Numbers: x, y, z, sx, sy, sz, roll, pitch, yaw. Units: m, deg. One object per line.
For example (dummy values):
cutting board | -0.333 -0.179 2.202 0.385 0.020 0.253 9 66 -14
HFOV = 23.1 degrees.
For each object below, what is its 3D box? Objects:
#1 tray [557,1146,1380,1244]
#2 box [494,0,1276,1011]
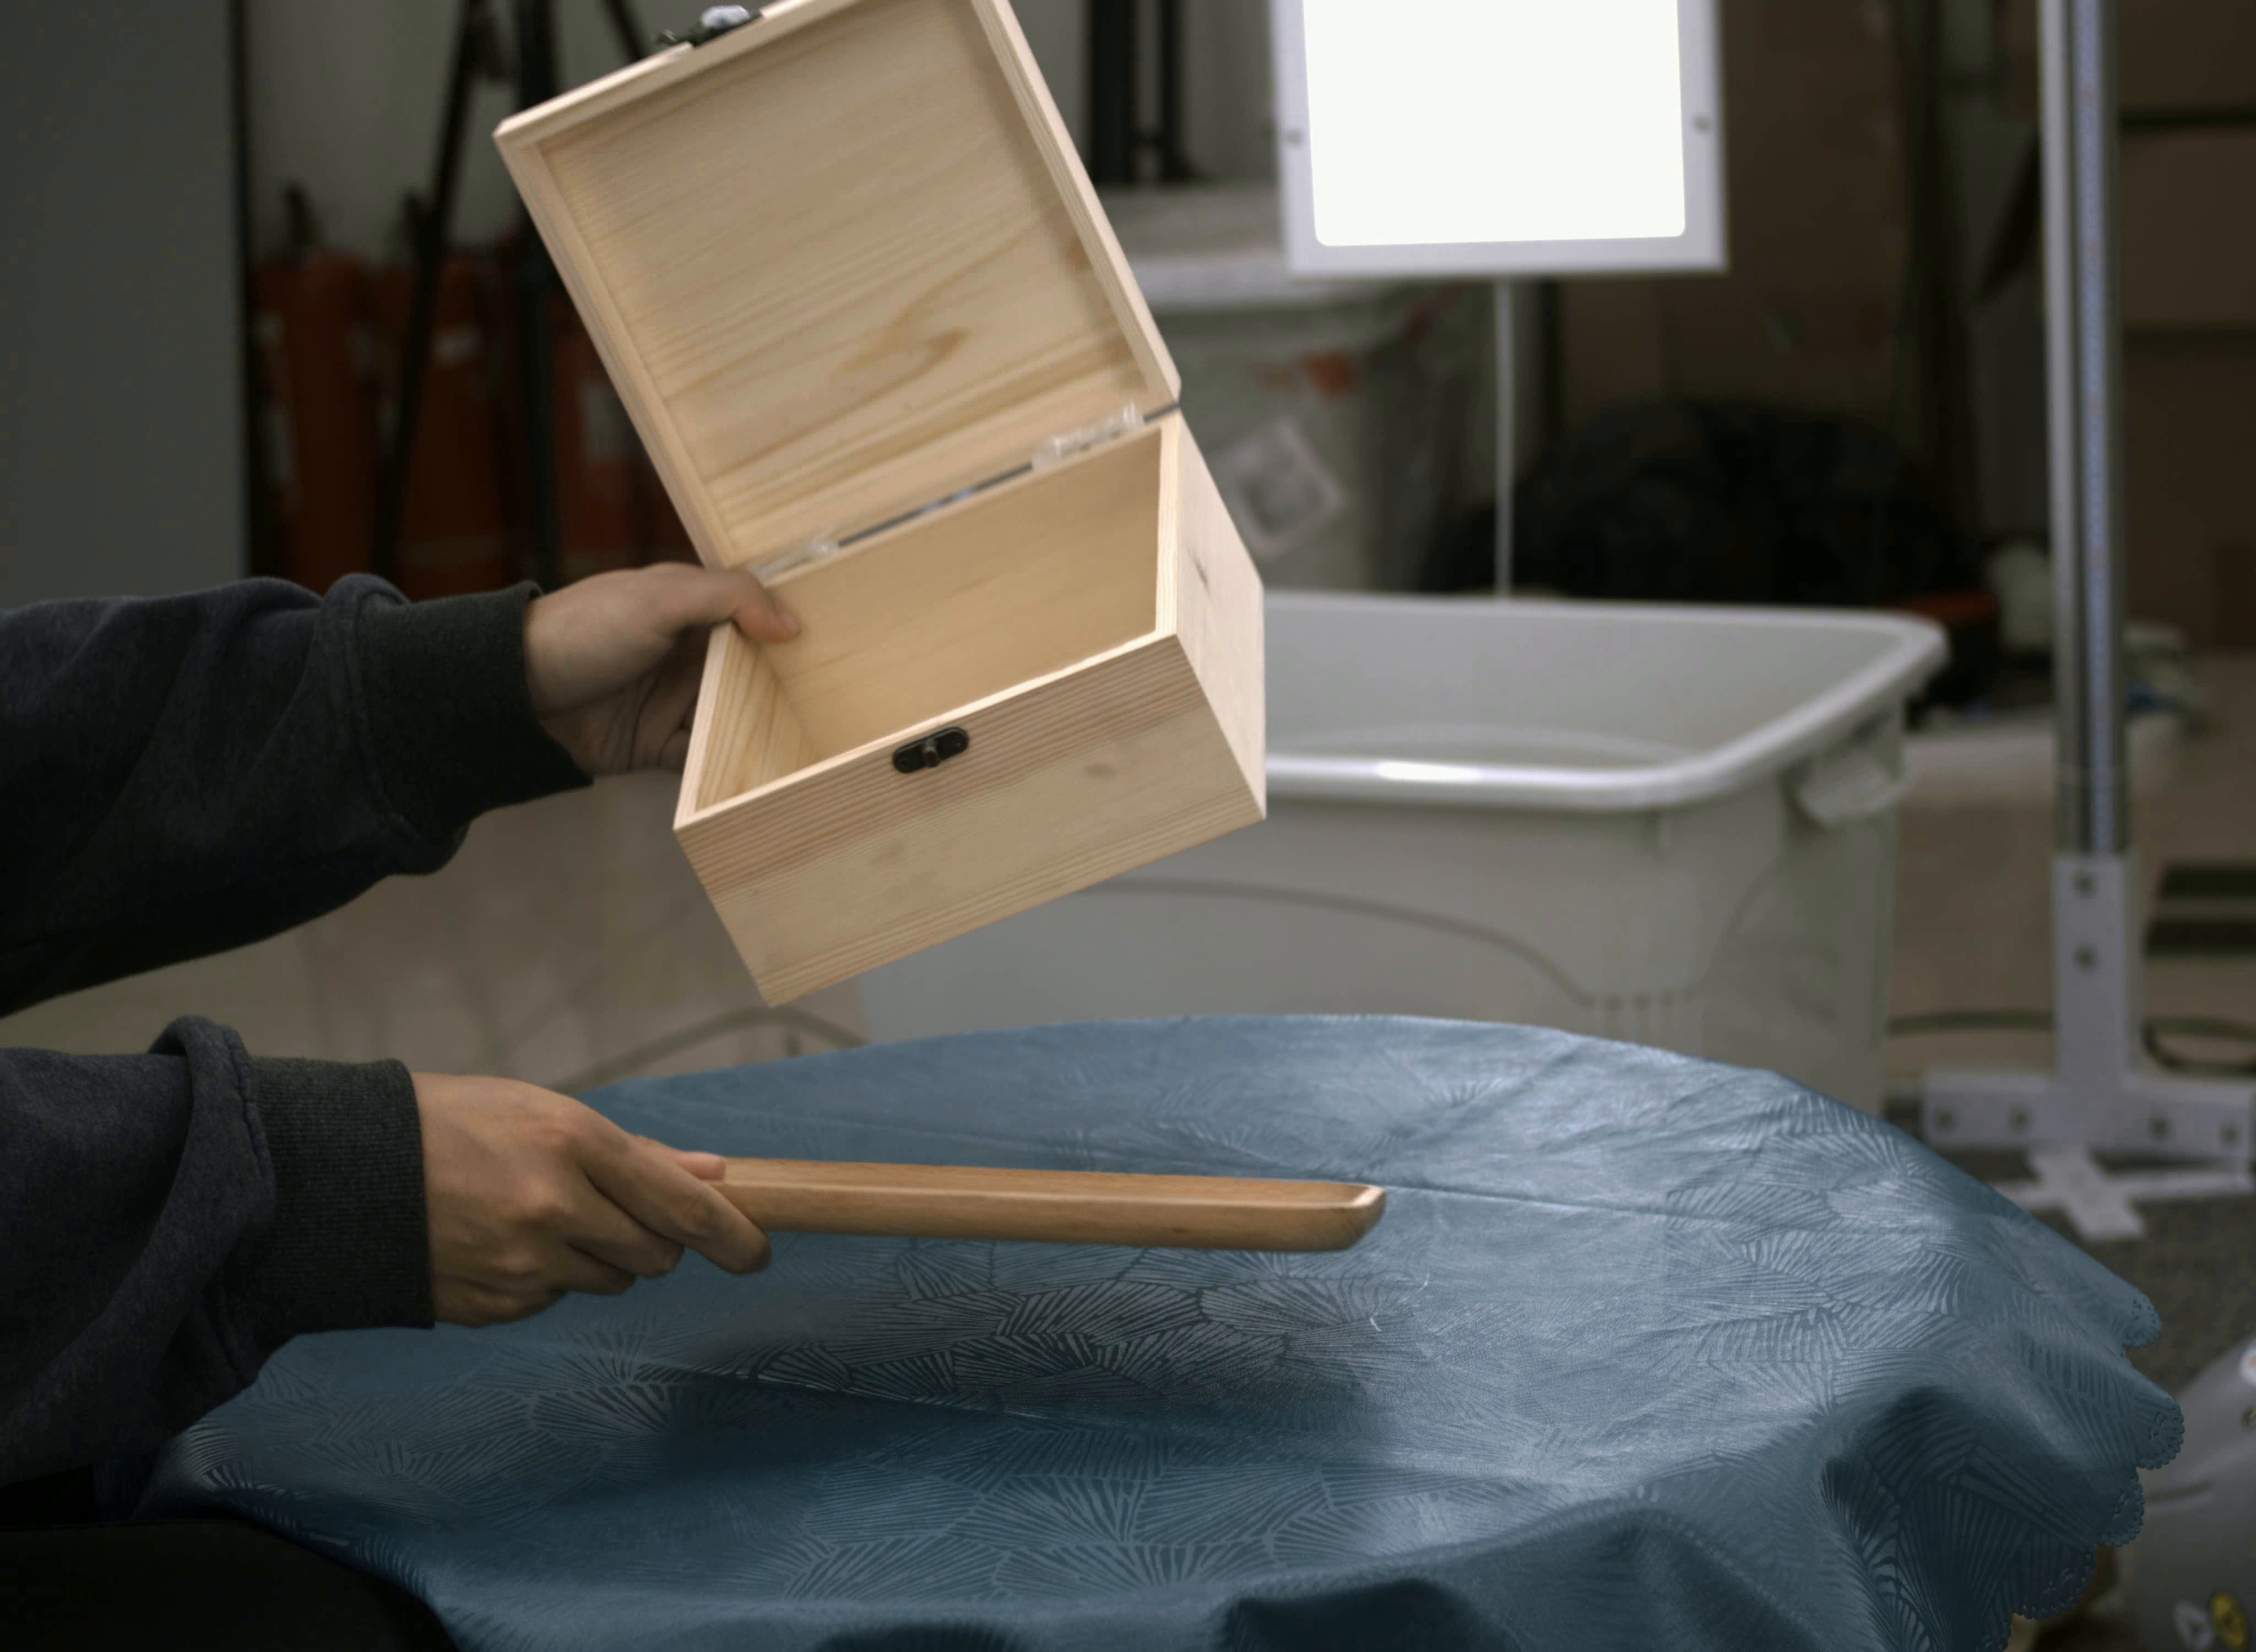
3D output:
tray | -0.048 0.115 1.720 0.252 0.023 0.129 1 -4 9
box | -0.087 -0.129 1.865 0.183 0.252 0.264 -25 24 13
